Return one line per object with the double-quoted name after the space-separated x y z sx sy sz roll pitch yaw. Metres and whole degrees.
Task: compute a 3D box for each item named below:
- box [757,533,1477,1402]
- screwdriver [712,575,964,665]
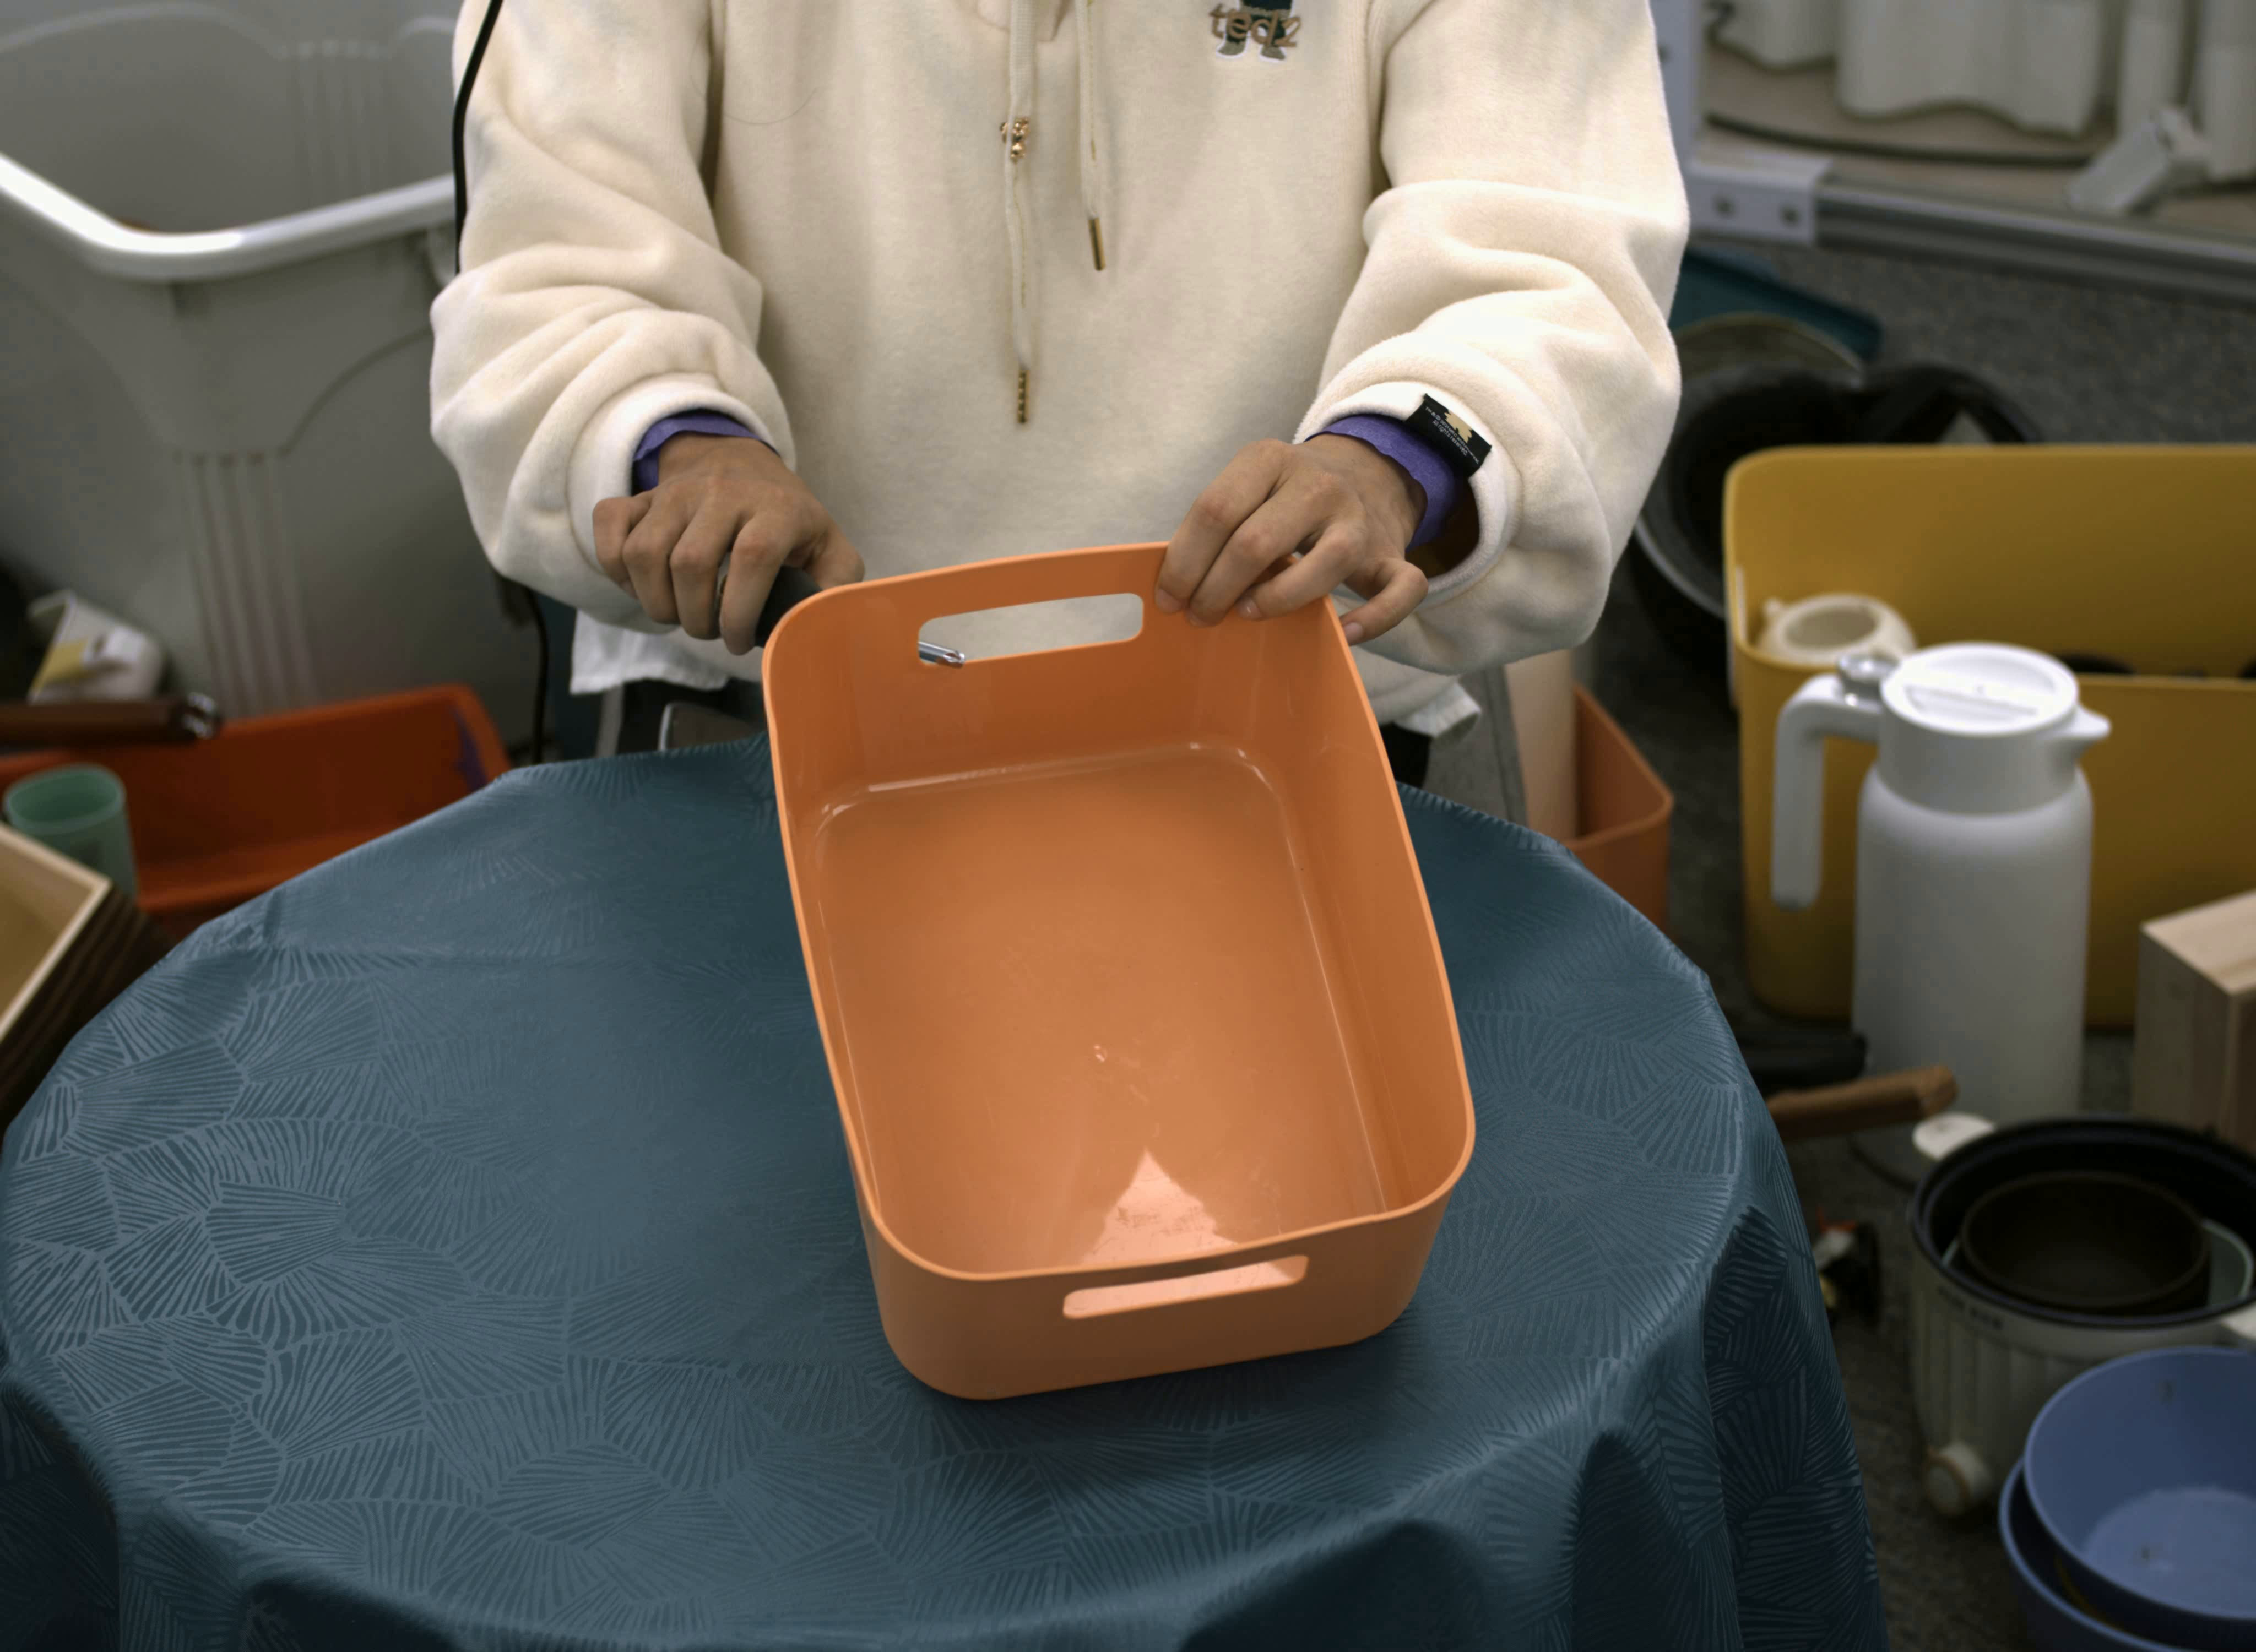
-0.007 0.047 1.796 0.199 0.101 0.278 -8 54 -9 "box"
-0.100 -0.065 1.931 0.031 0.031 0.196 -14 13 -21 "screwdriver"
